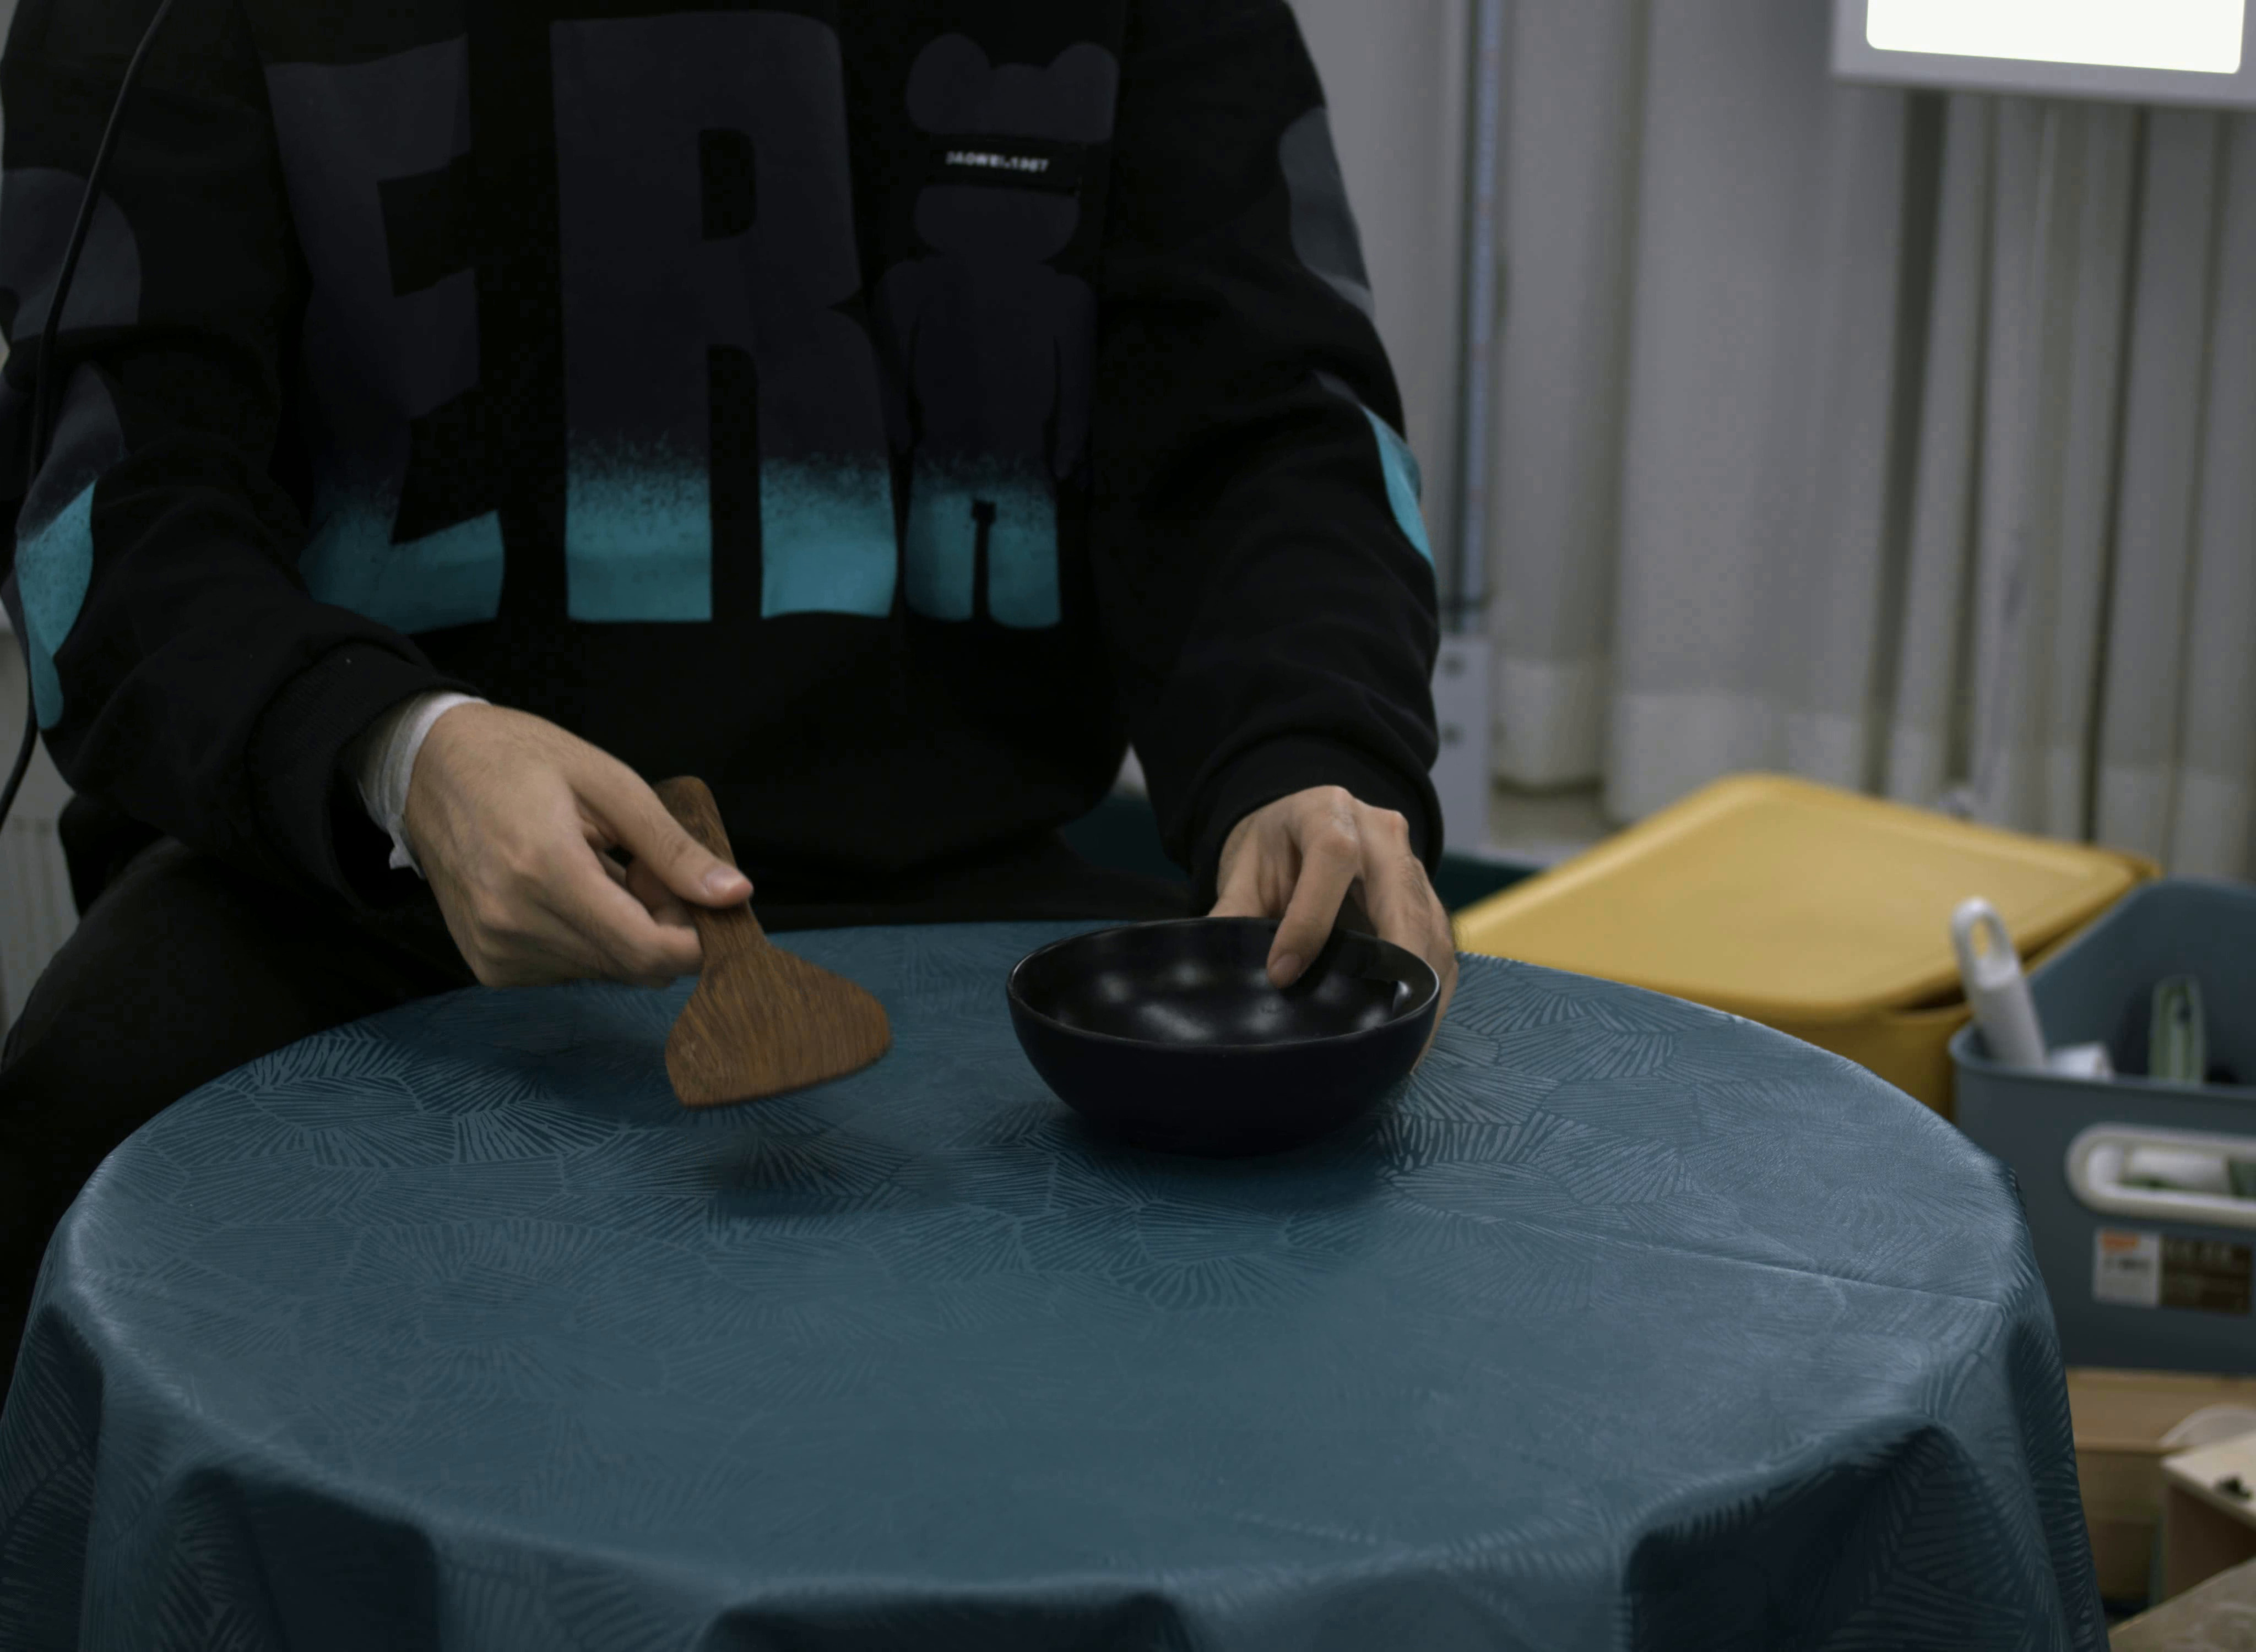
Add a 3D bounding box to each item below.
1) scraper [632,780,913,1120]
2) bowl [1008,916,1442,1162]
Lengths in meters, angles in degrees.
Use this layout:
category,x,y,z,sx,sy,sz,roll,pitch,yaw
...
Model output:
category,x,y,z,sx,sy,sz,roll,pitch,yaw
scraper,-0.127,0.037,1.694,0.076,0.011,0.208,-12,32,-11
bowl,0.032,0.072,1.683,0.139,0.050,0.139,-2,16,1
